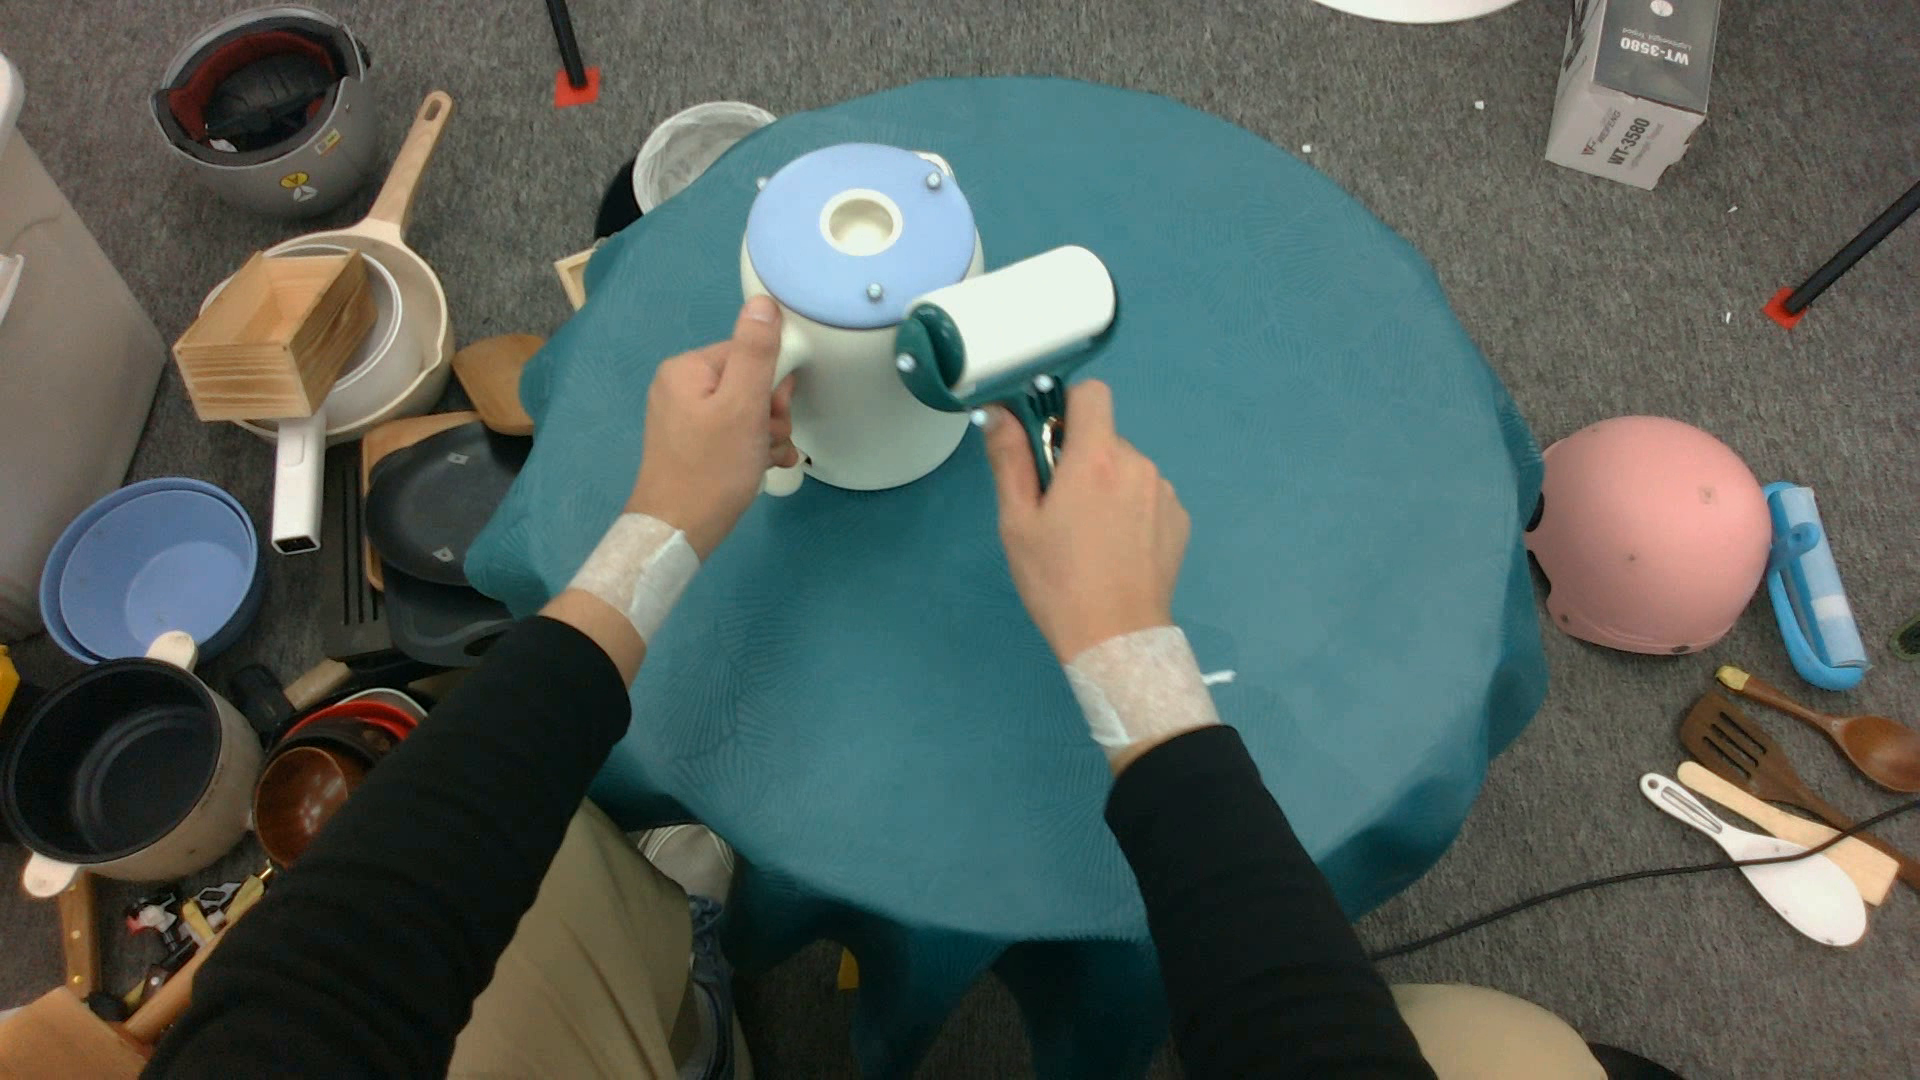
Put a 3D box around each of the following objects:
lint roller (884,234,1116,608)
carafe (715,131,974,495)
[{"bbox_3d":[0.046,-0.052,0.669,0.135,0.048,0.180,-27,95,-36],"label":"lint roller"},{"bbox_3d":[-0.074,-0.110,0.772,0.132,0.182,0.192,32,68,13],"label":"carafe"}]
